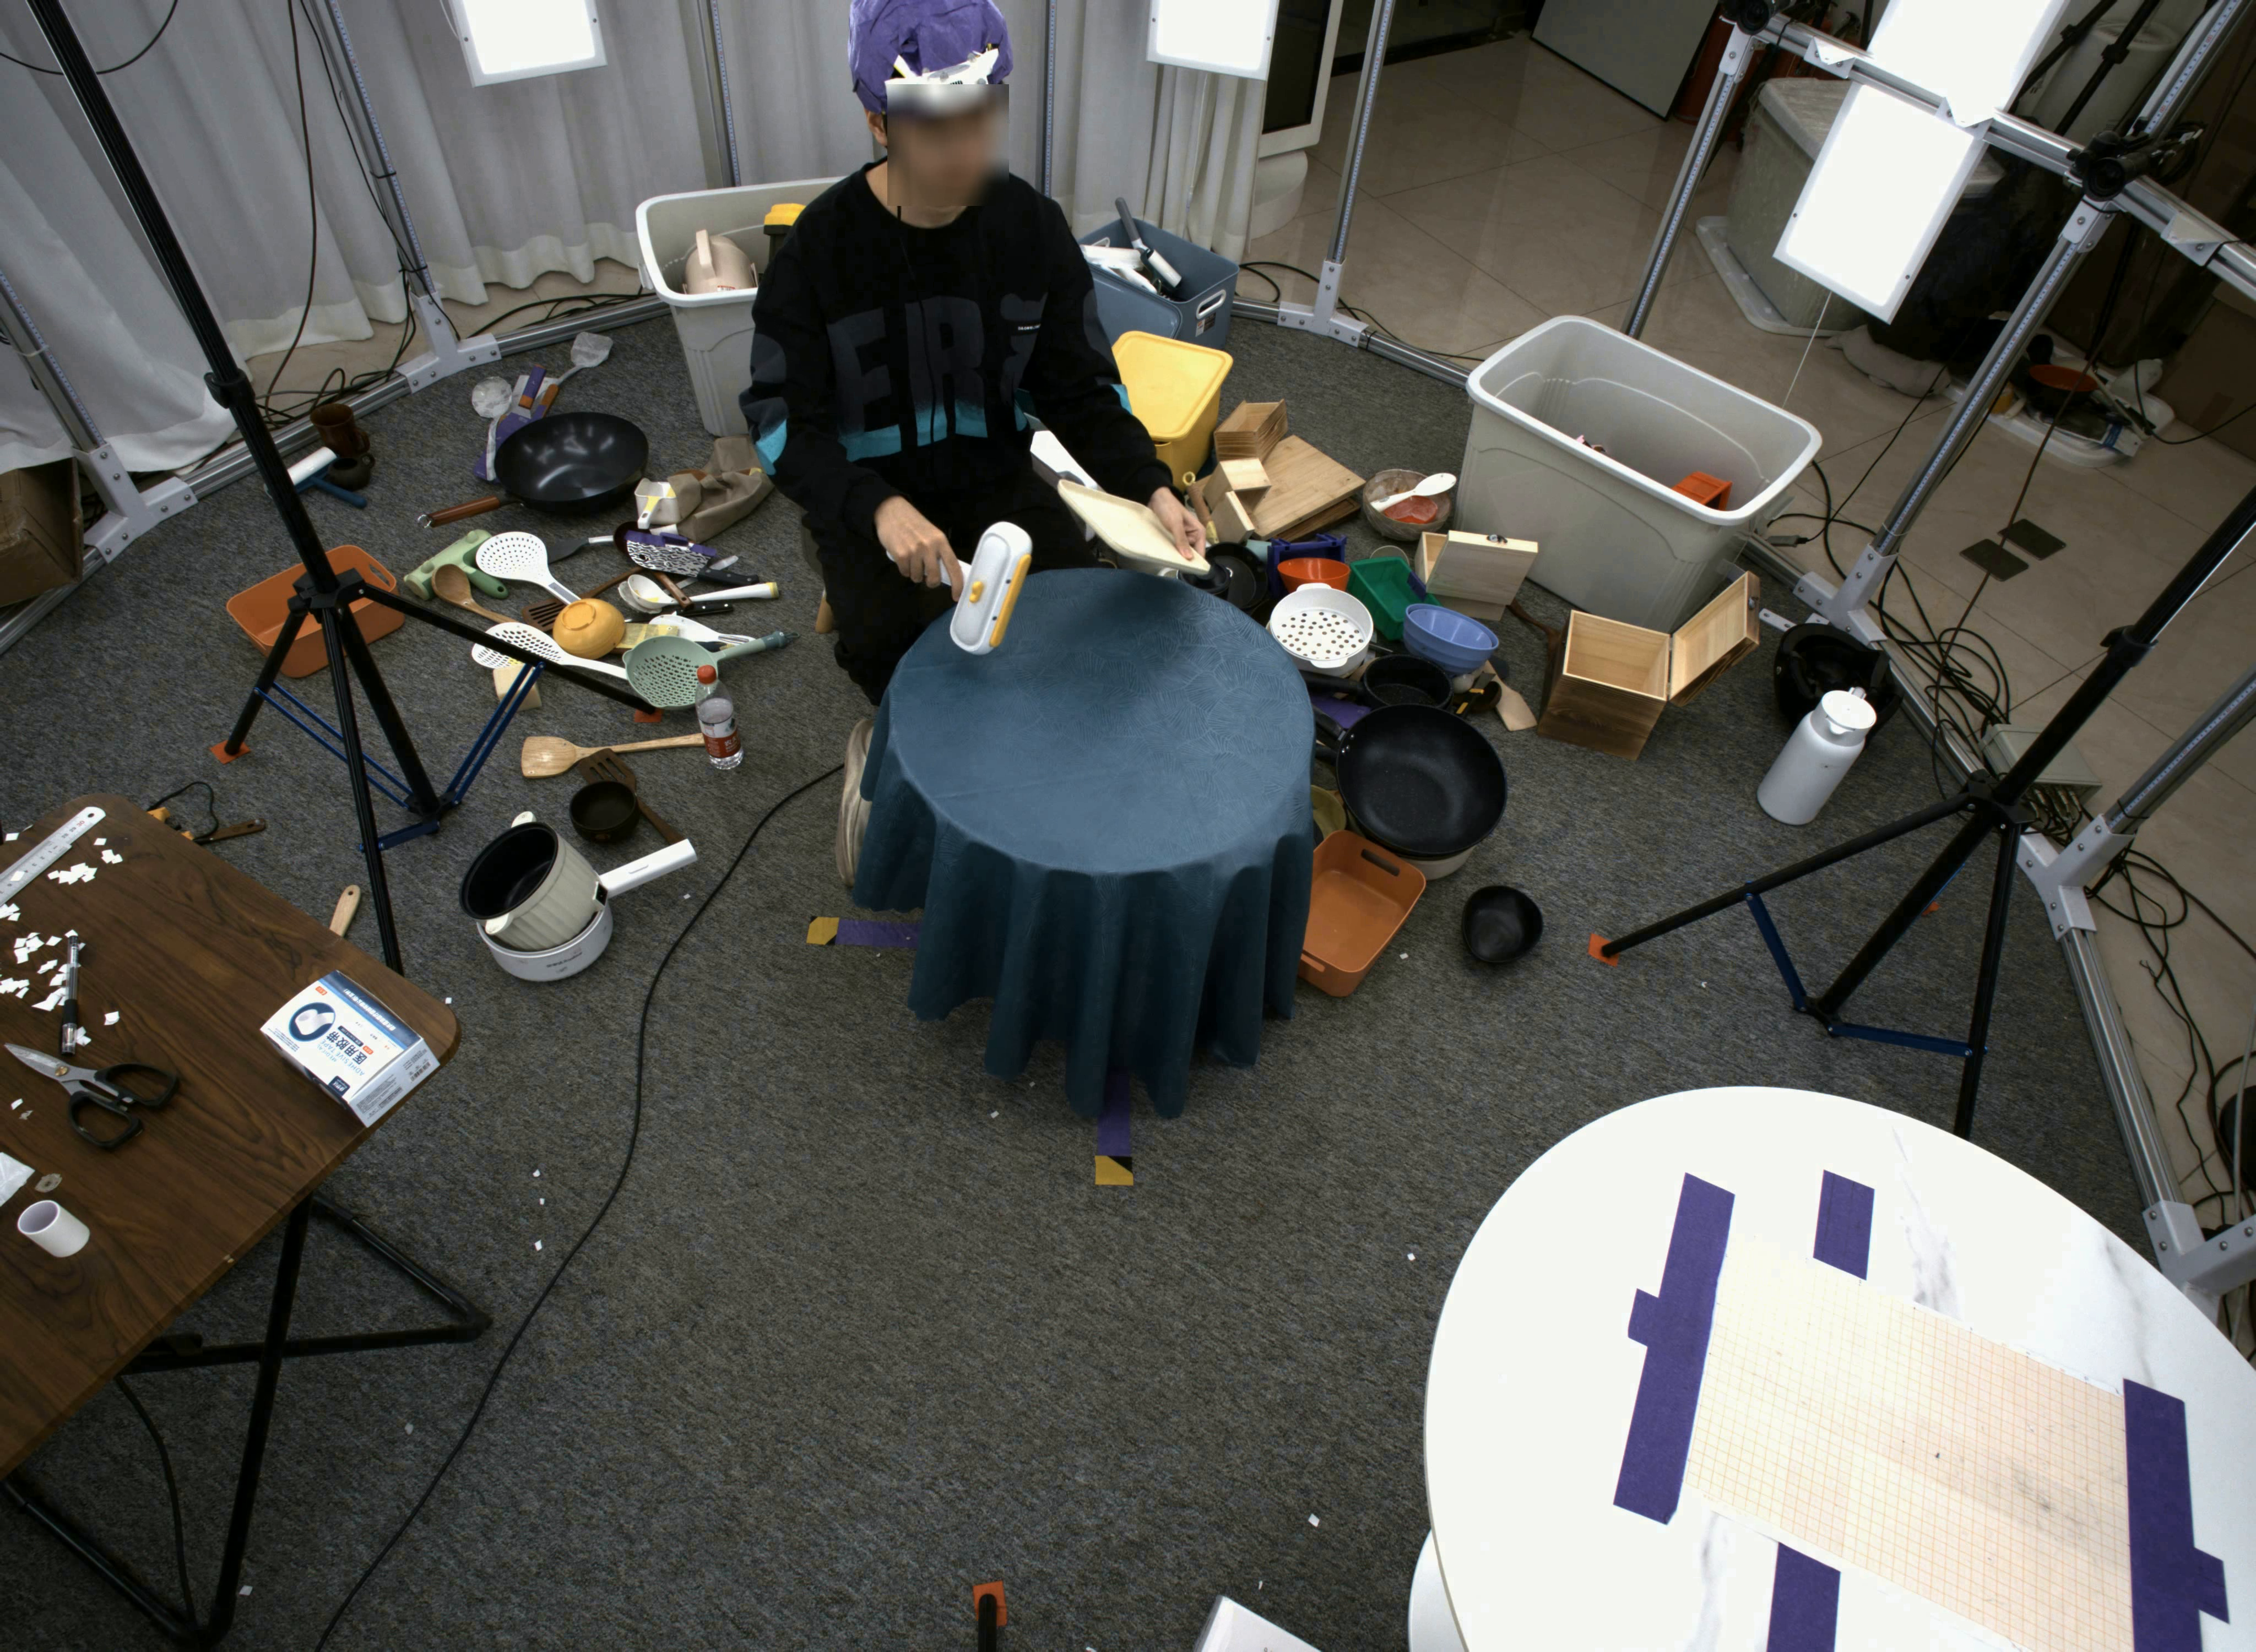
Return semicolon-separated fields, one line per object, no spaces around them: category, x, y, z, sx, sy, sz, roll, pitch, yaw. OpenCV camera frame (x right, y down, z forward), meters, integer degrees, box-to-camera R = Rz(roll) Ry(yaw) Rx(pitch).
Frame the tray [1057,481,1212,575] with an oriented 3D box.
tray;0.011;-0.422;1.845;0.238;0.017;0.174;-1;43;-53

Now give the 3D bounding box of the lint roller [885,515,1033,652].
lint roller;-0.241;-0.354;1.785;0.193;0.189;0.075;25;29;12
